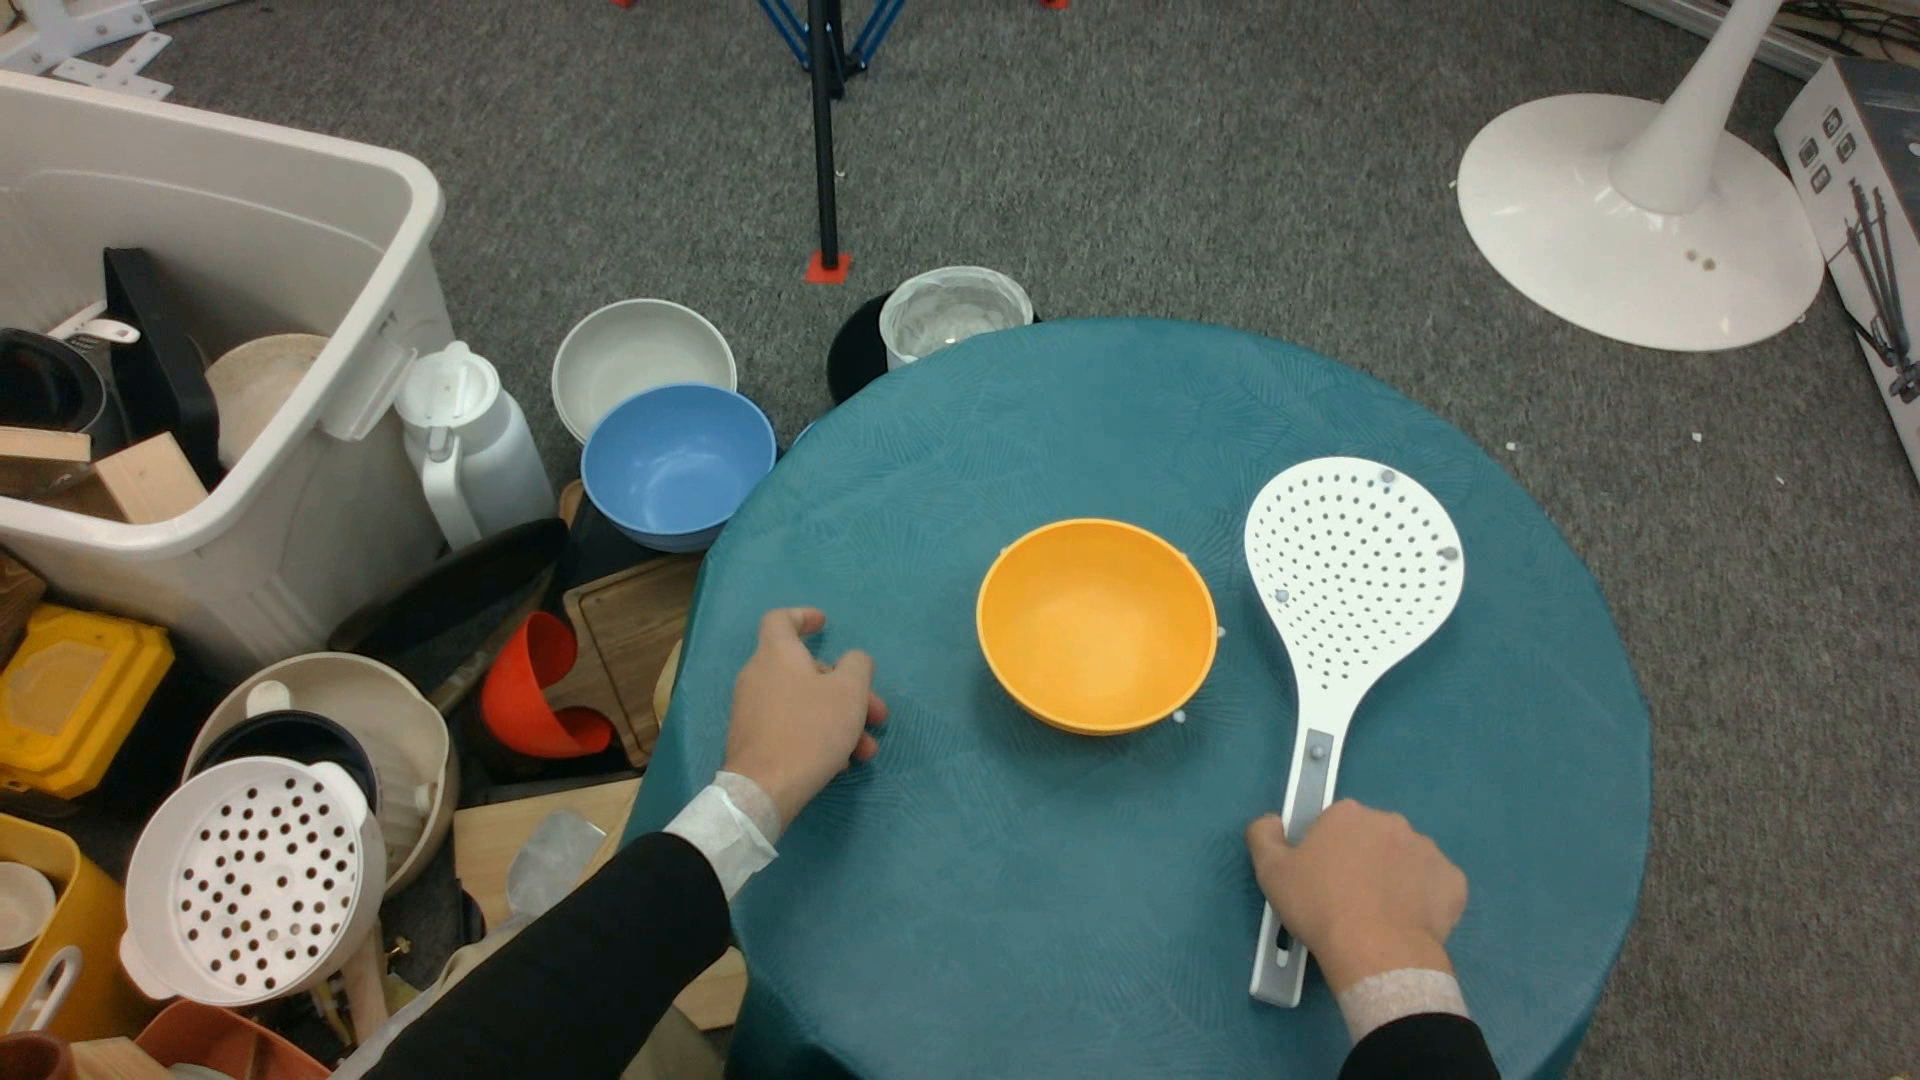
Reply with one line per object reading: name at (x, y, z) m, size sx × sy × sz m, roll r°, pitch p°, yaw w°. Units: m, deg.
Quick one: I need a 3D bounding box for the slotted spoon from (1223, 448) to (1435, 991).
slotted spoon at (0.205, 0.096, 0.831) m, size 0.136 × 0.045 × 0.351 m, roll 15°, pitch 58°, yaw 5°

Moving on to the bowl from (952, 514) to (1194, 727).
bowl at (0.067, 0.059, 0.842) m, size 0.145 × 0.060 × 0.146 m, roll 1°, pitch 55°, yaw -1°
